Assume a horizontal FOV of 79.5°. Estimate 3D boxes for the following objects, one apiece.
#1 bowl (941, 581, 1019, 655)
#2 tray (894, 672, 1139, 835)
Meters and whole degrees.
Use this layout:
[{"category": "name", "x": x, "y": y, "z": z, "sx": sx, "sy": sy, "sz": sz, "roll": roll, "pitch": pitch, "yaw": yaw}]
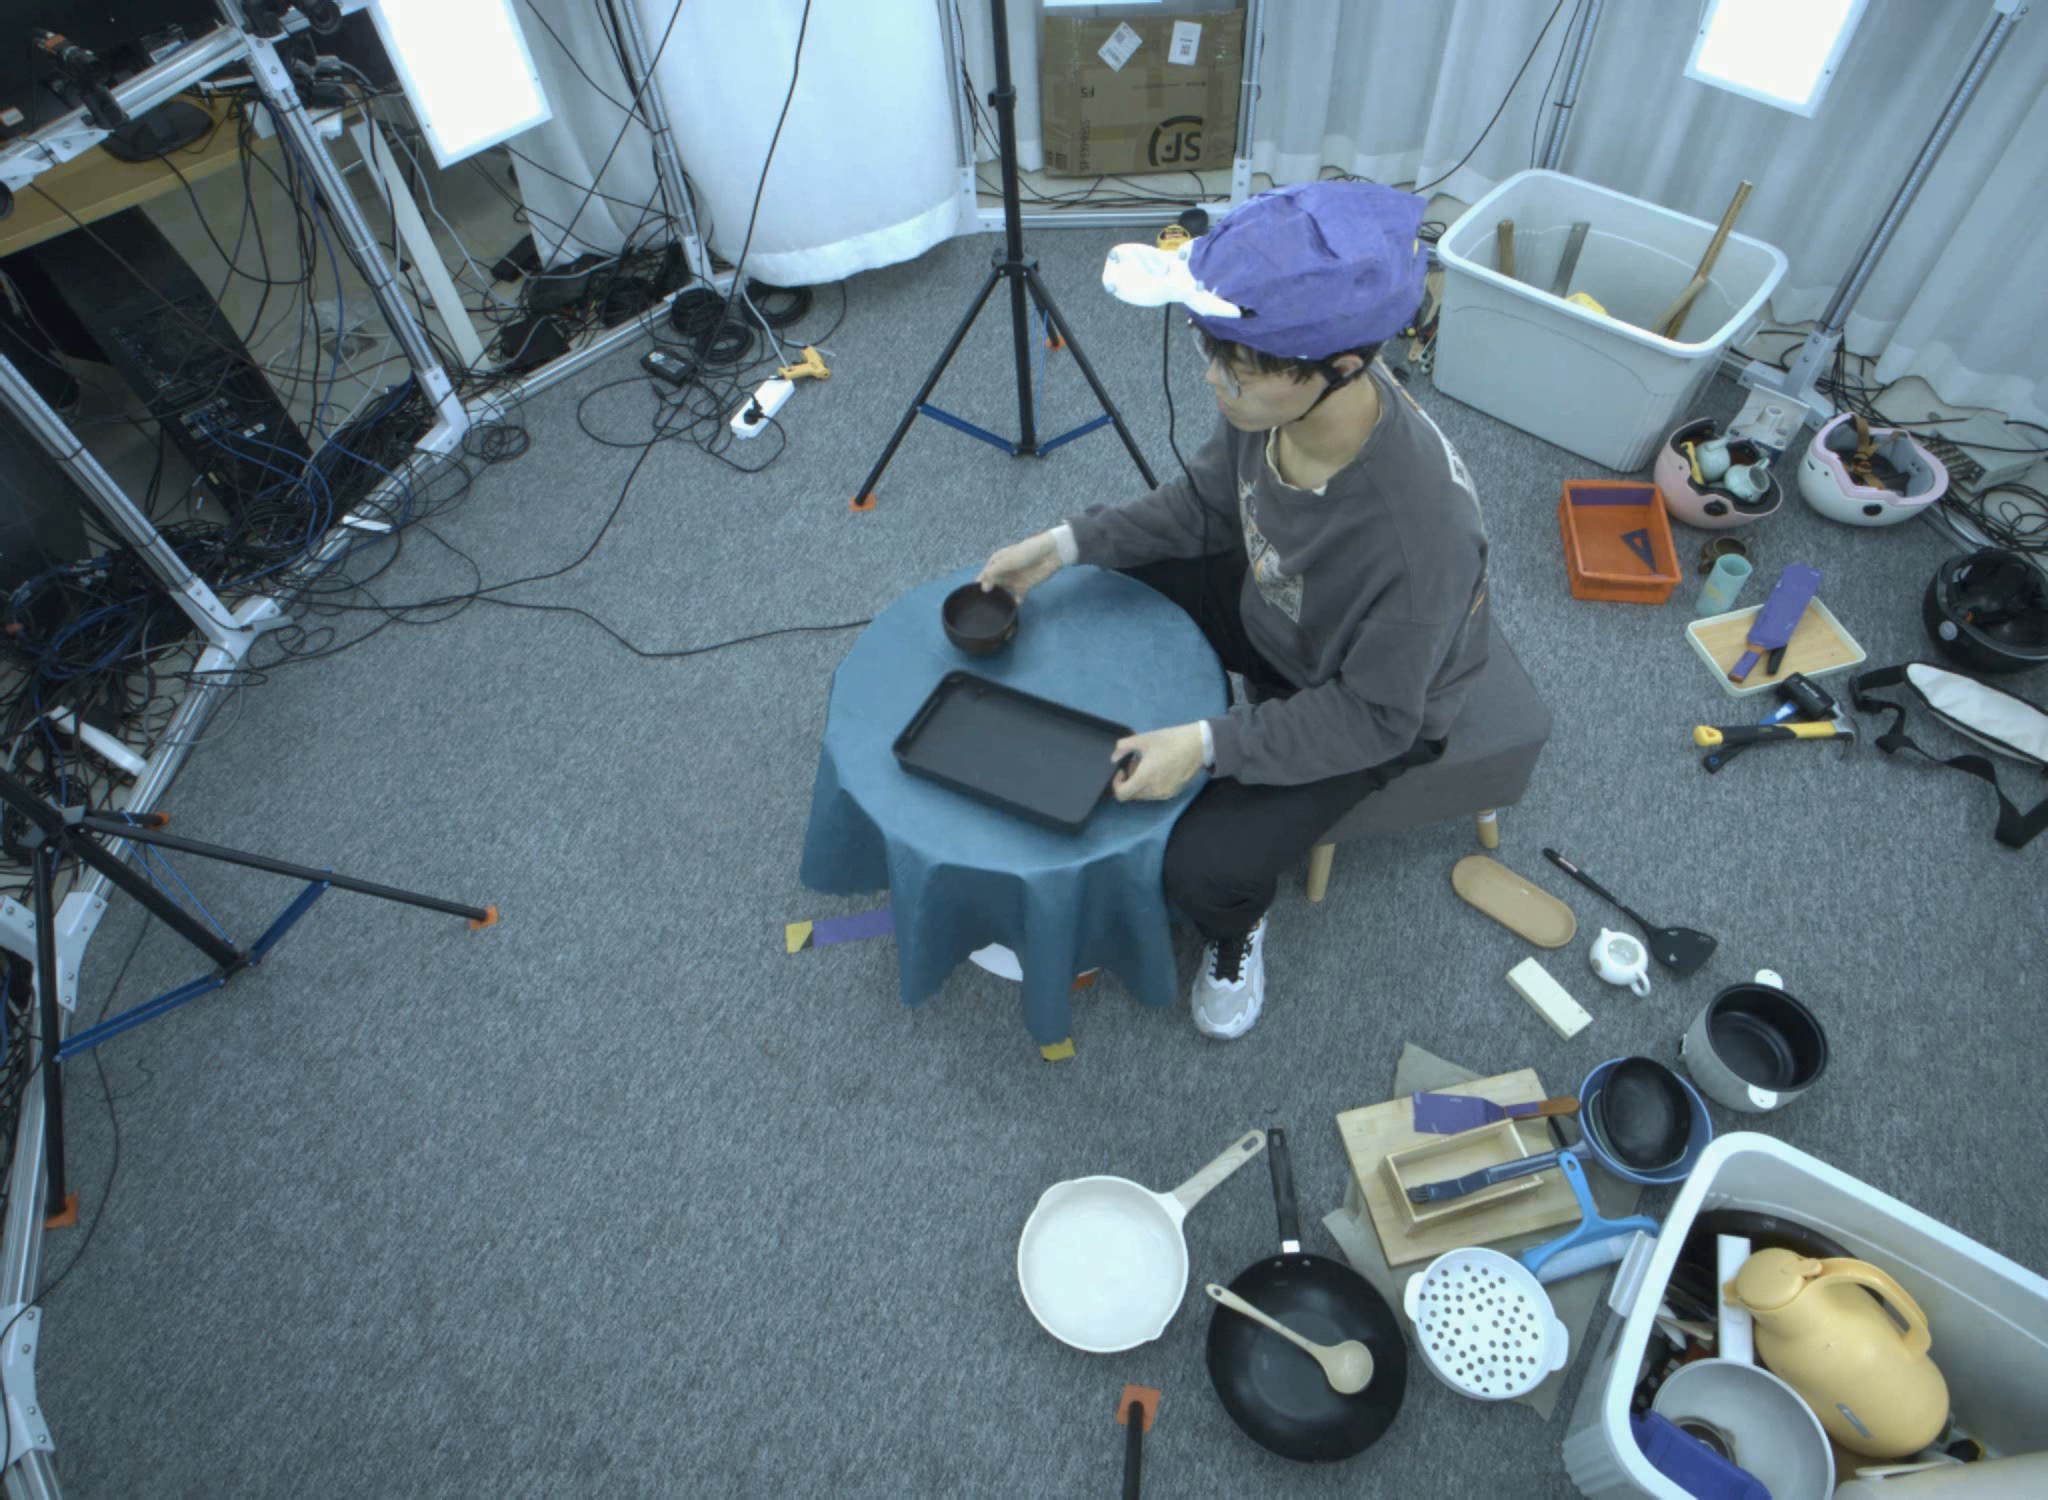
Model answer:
[{"category": "bowl", "x": -0.067, "y": -0.193, "z": 1.875, "sx": 0.118, "sy": 0.070, "sz": 0.117, "roll": 1, "pitch": 54, "yaw": 0}, {"category": "tray", "x": -0.011, "y": 0.000, "z": 1.748, "sx": 0.313, "sy": 0.037, "sz": 0.184, "roll": 19, "pitch": 56, "yaw": 21}]
